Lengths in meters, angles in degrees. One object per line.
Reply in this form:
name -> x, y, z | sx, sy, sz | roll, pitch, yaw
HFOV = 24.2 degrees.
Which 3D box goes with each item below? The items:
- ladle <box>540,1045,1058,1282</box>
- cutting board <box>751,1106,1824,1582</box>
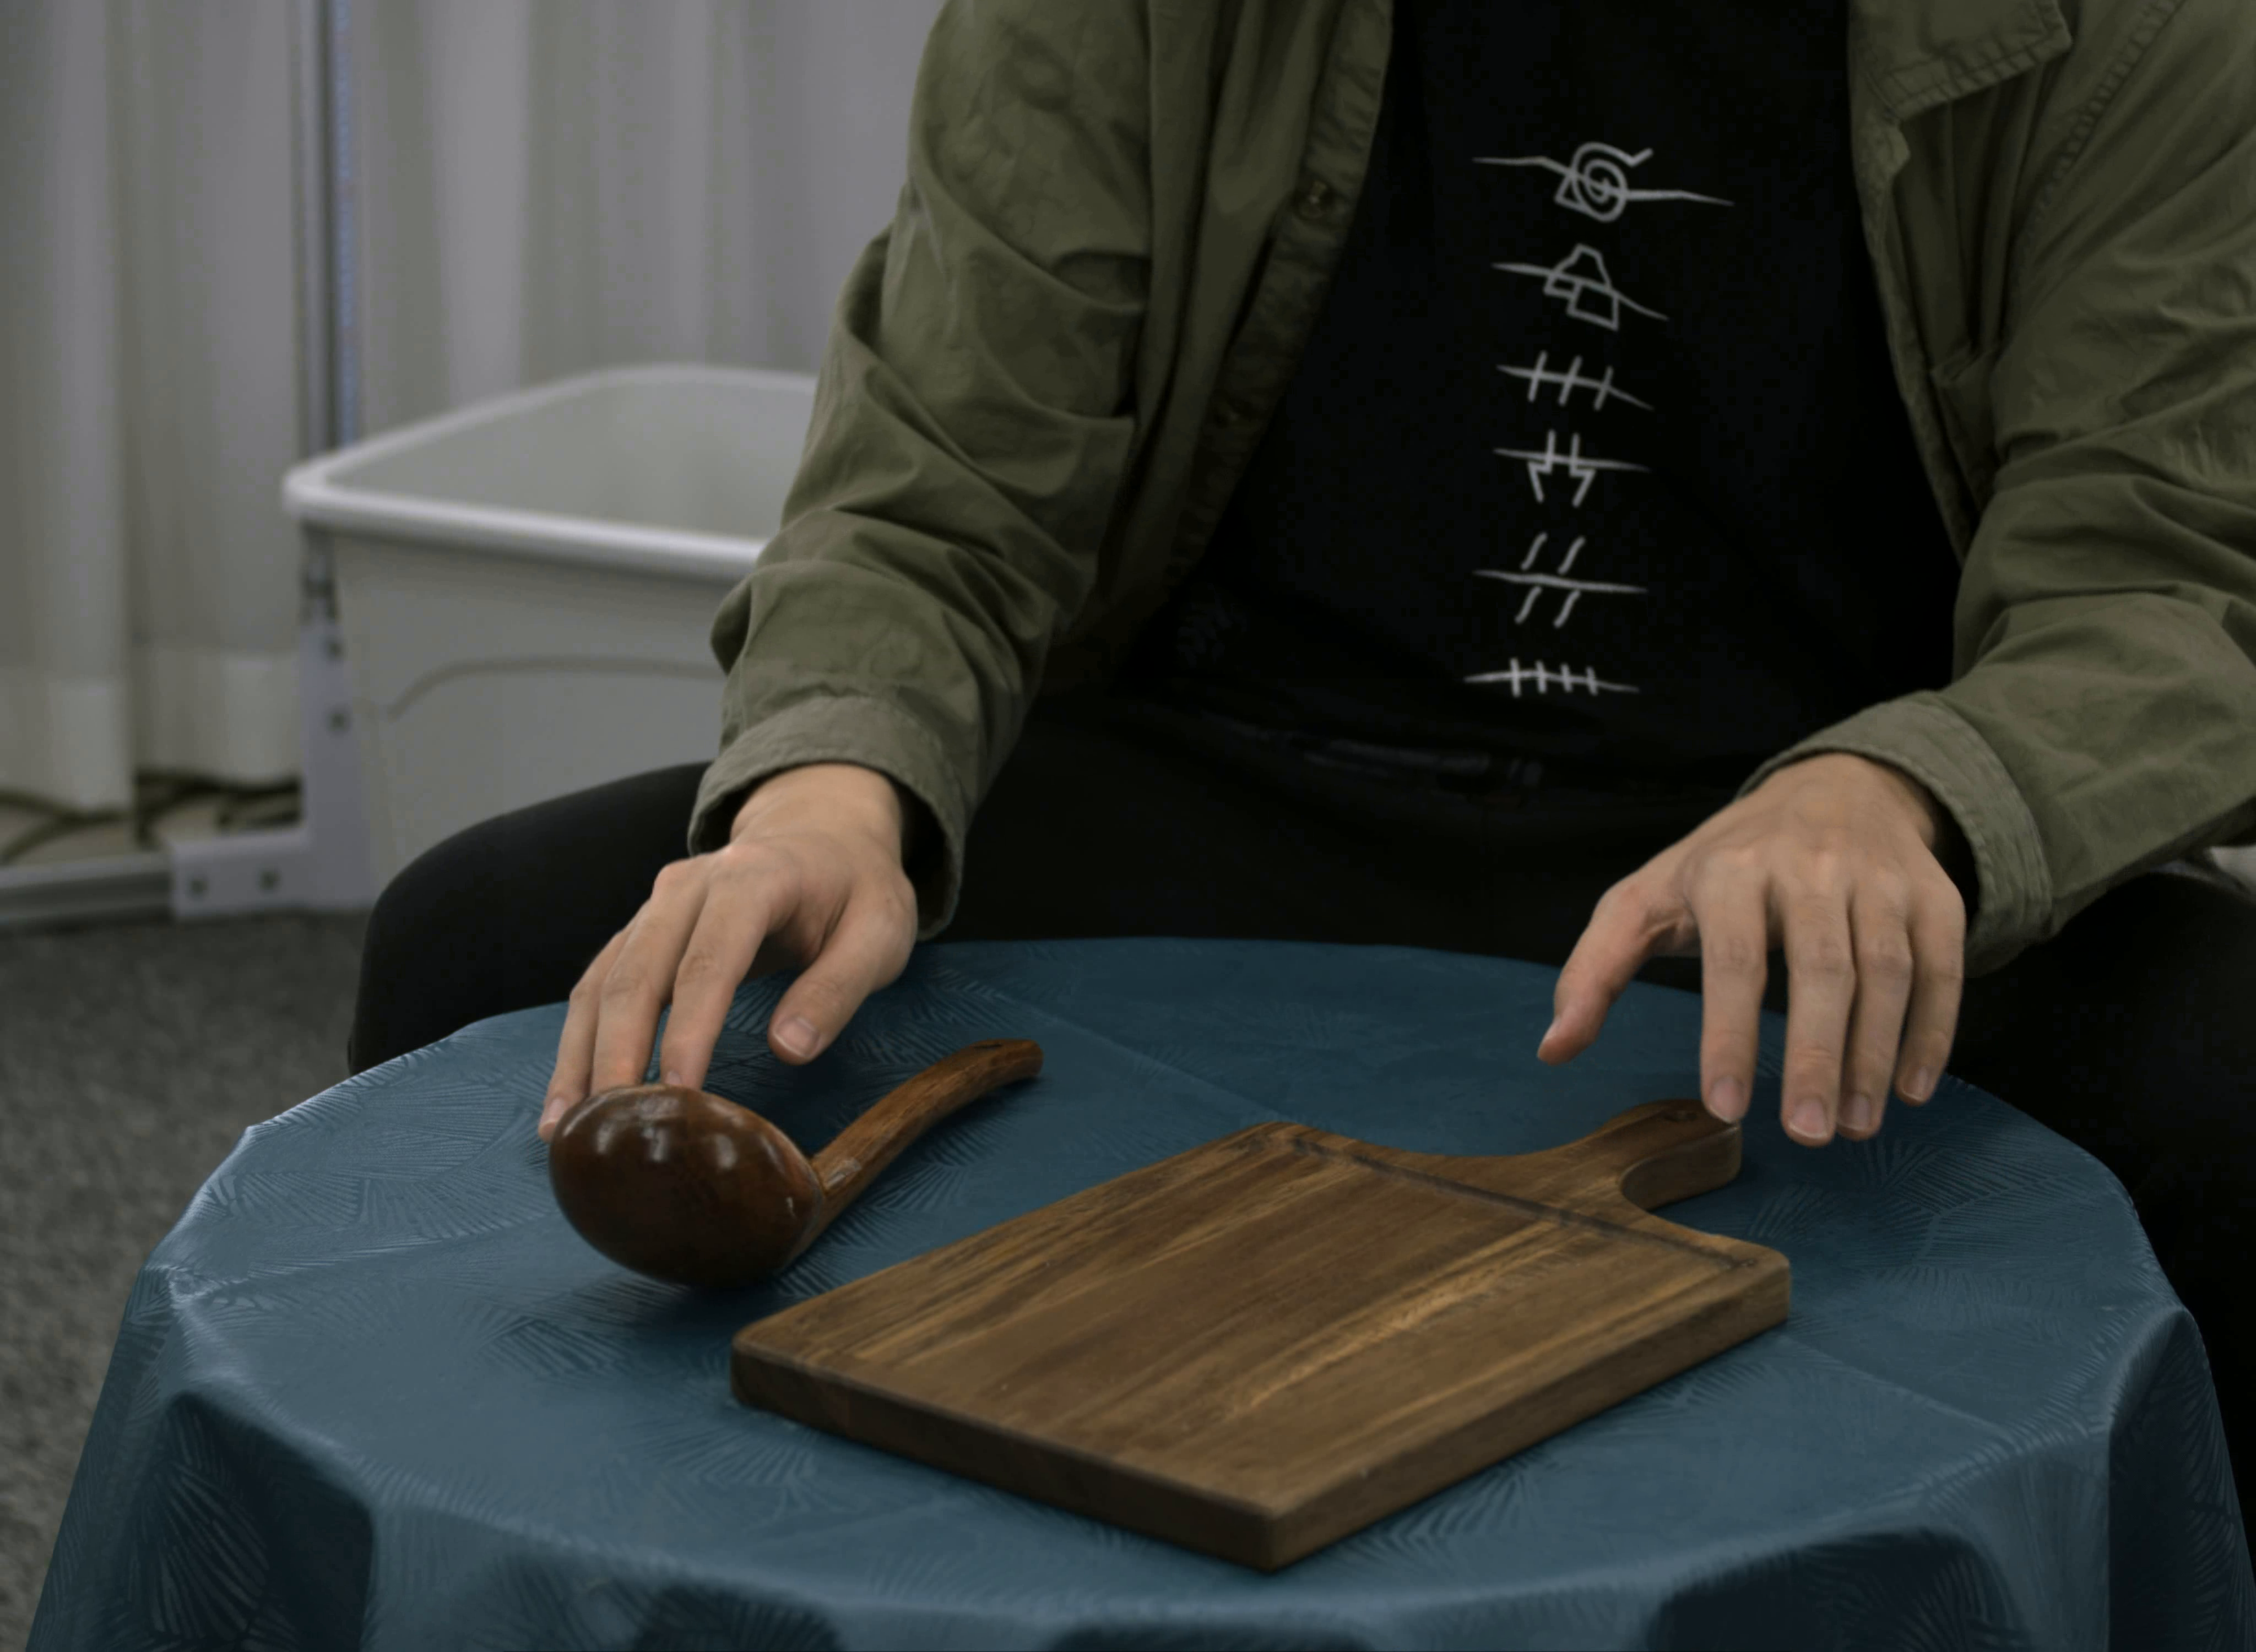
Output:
ladle -> -0.091, 0.078, 1.611 | 0.081, 0.077, 0.274 | 2, 14, 23
cutting board -> 0.080, 0.133, 1.517 | 0.198, 0.023, 0.354 | 14, 20, 39
